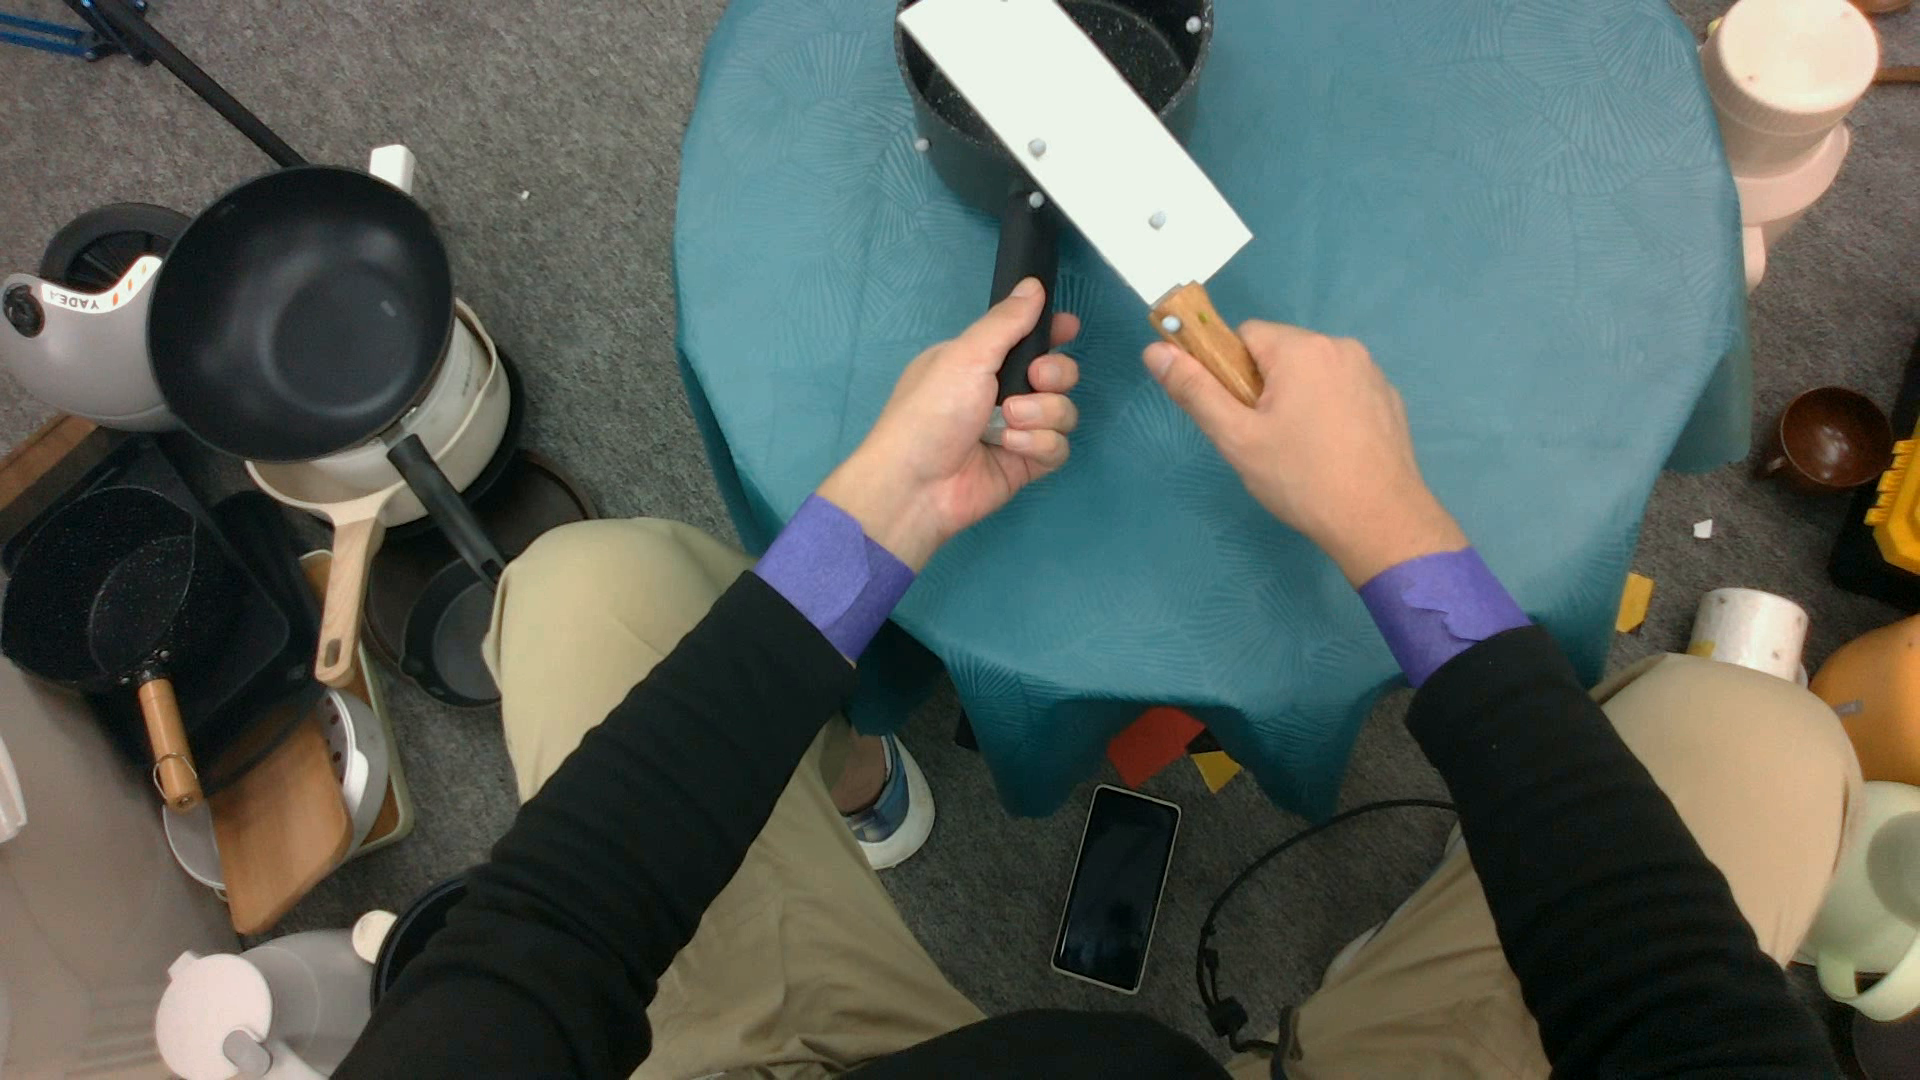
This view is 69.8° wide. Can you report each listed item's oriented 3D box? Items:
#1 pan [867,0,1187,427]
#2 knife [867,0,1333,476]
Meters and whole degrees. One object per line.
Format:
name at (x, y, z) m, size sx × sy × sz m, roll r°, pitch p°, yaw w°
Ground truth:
pan at (0.027, -0.201, 0.747) m, size 0.172 × 0.086 × 0.329 m, roll 6°, pitch 71°, yaw 7°
knife at (0.083, -0.163, 0.676) m, size 0.305 × 0.021 × 0.093 m, roll 46°, pitch 55°, yaw -3°
